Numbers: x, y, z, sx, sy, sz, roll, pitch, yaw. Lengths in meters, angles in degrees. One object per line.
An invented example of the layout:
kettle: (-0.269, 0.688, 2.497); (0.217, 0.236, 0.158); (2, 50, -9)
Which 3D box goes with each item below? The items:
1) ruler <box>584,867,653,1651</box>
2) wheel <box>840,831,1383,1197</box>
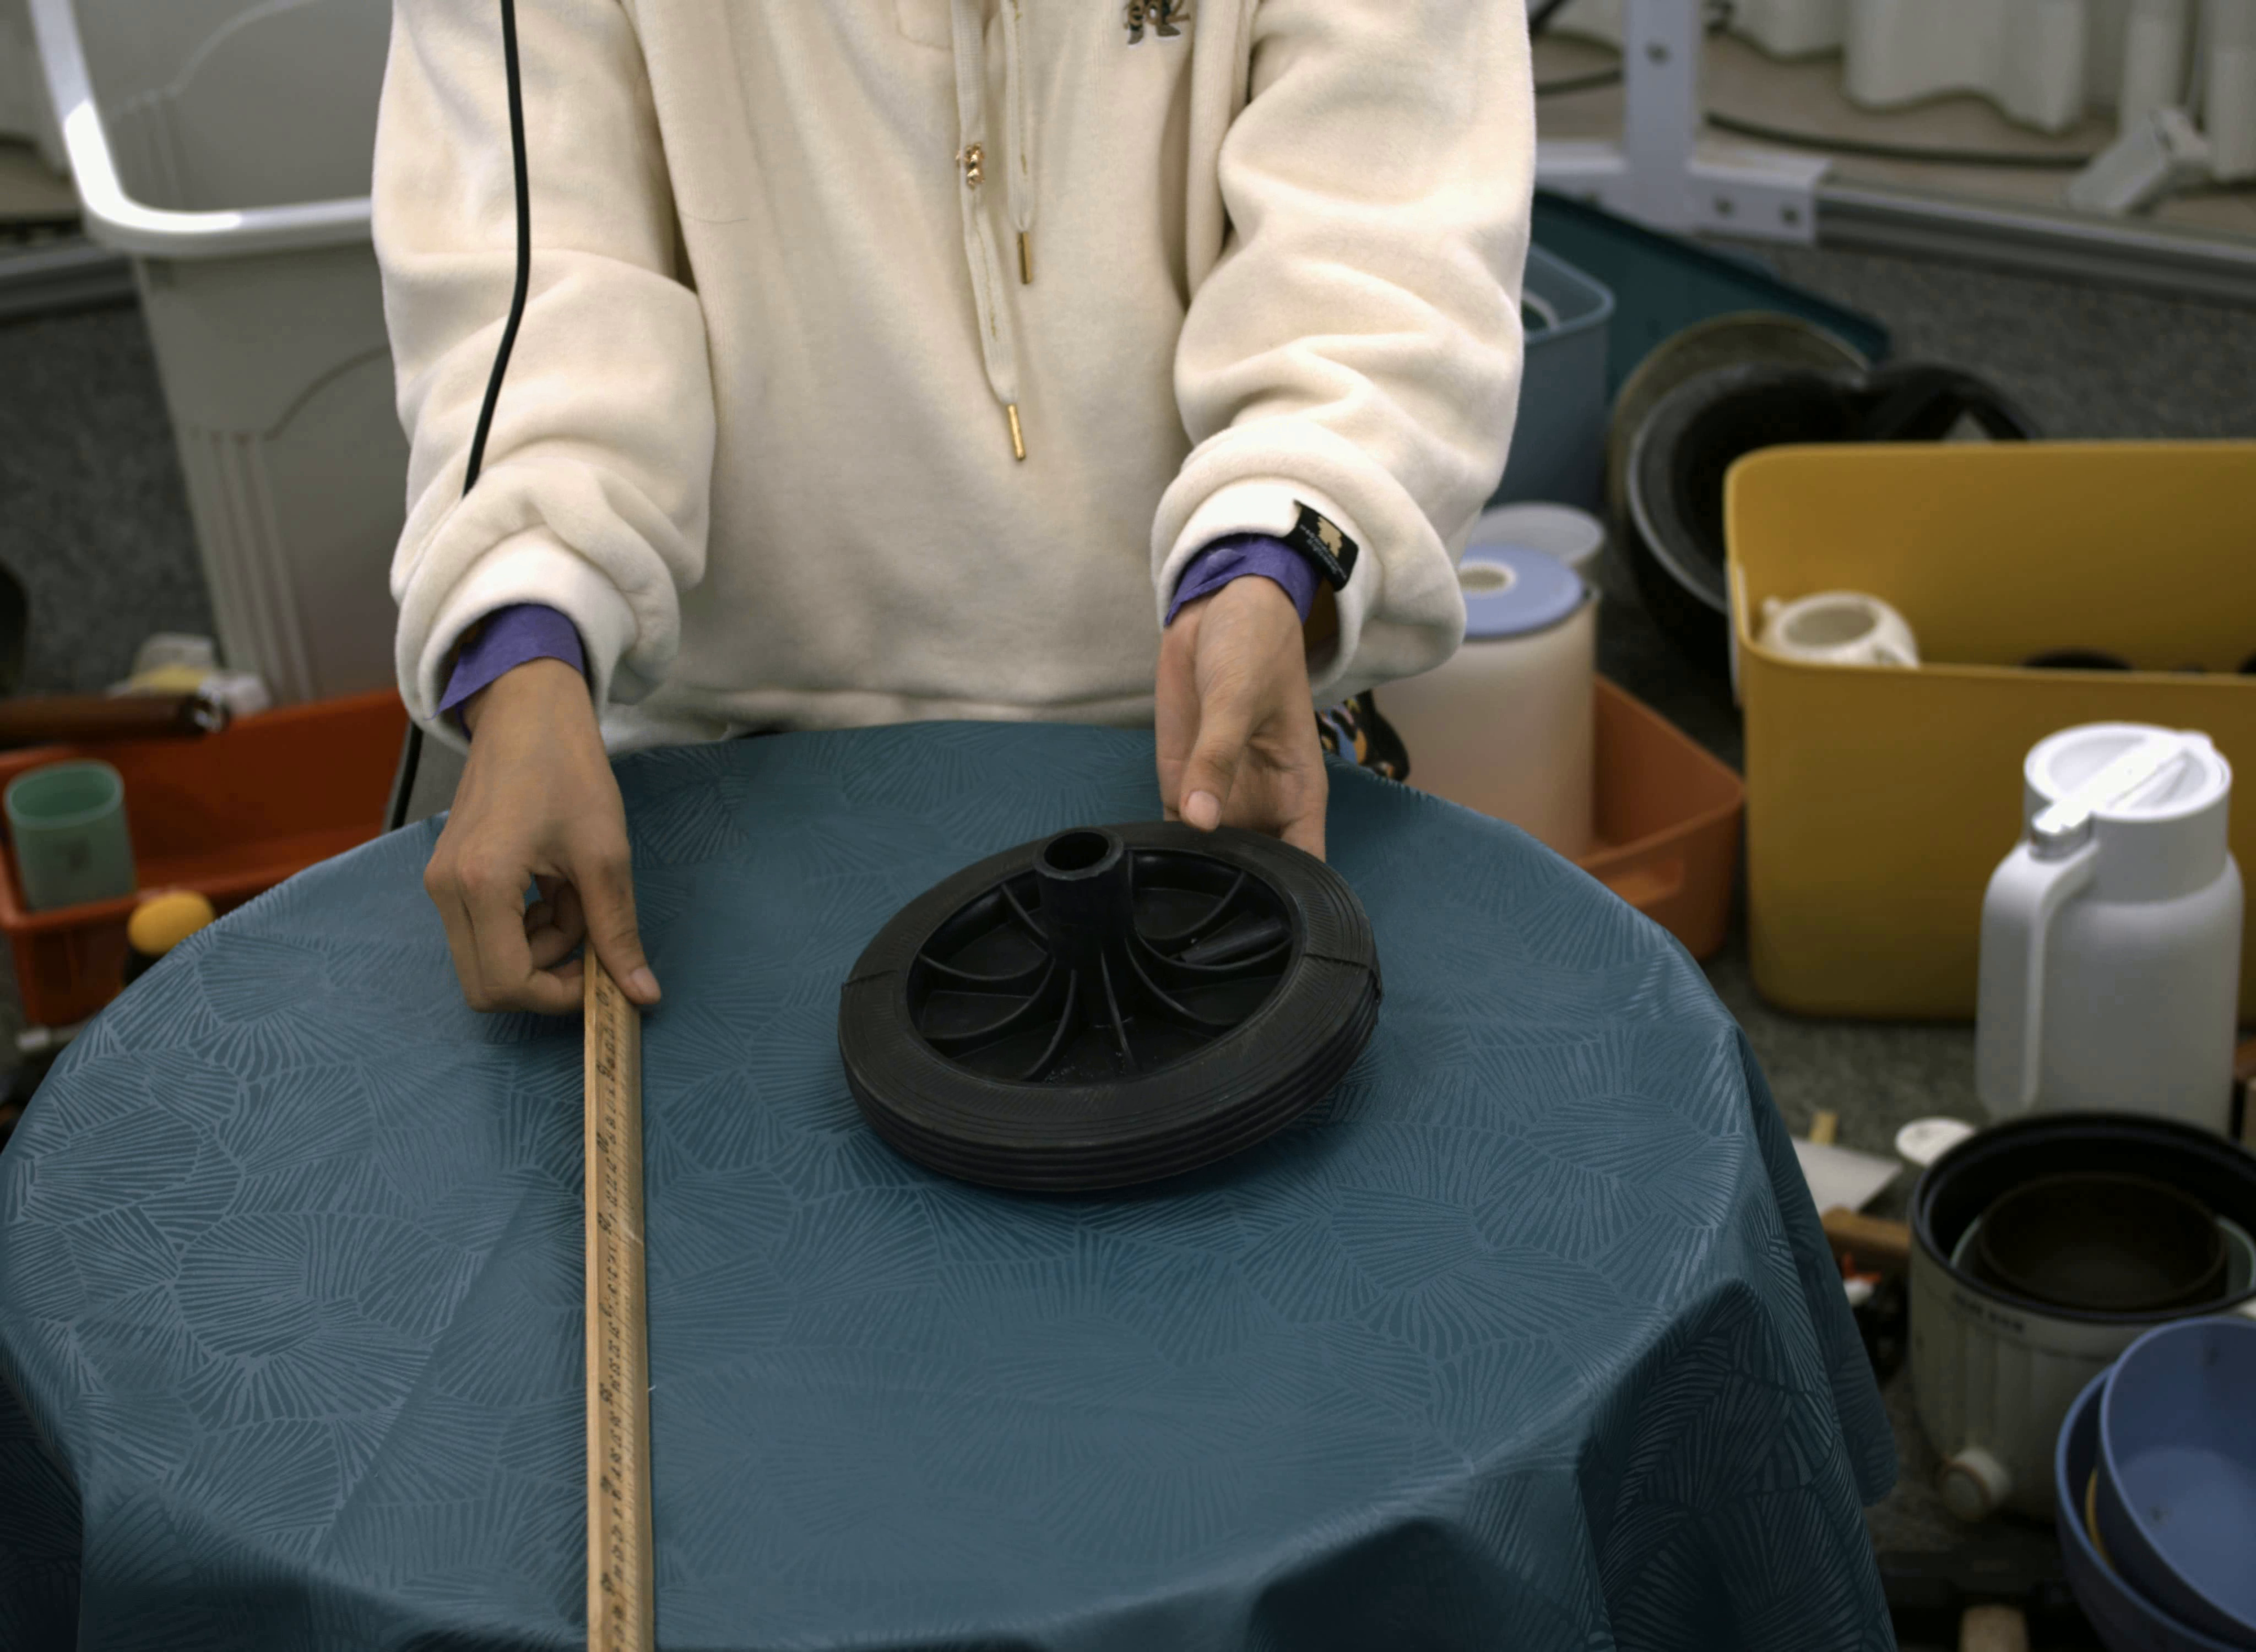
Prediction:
ruler: (-0.167, 0.136, 1.826); (0.006, 0.026, 0.507); (-38, 24, 13)
wheel: (-0.009, 0.044, 1.914); (0.192, 0.078, 0.187); (-34, 40, -32)
